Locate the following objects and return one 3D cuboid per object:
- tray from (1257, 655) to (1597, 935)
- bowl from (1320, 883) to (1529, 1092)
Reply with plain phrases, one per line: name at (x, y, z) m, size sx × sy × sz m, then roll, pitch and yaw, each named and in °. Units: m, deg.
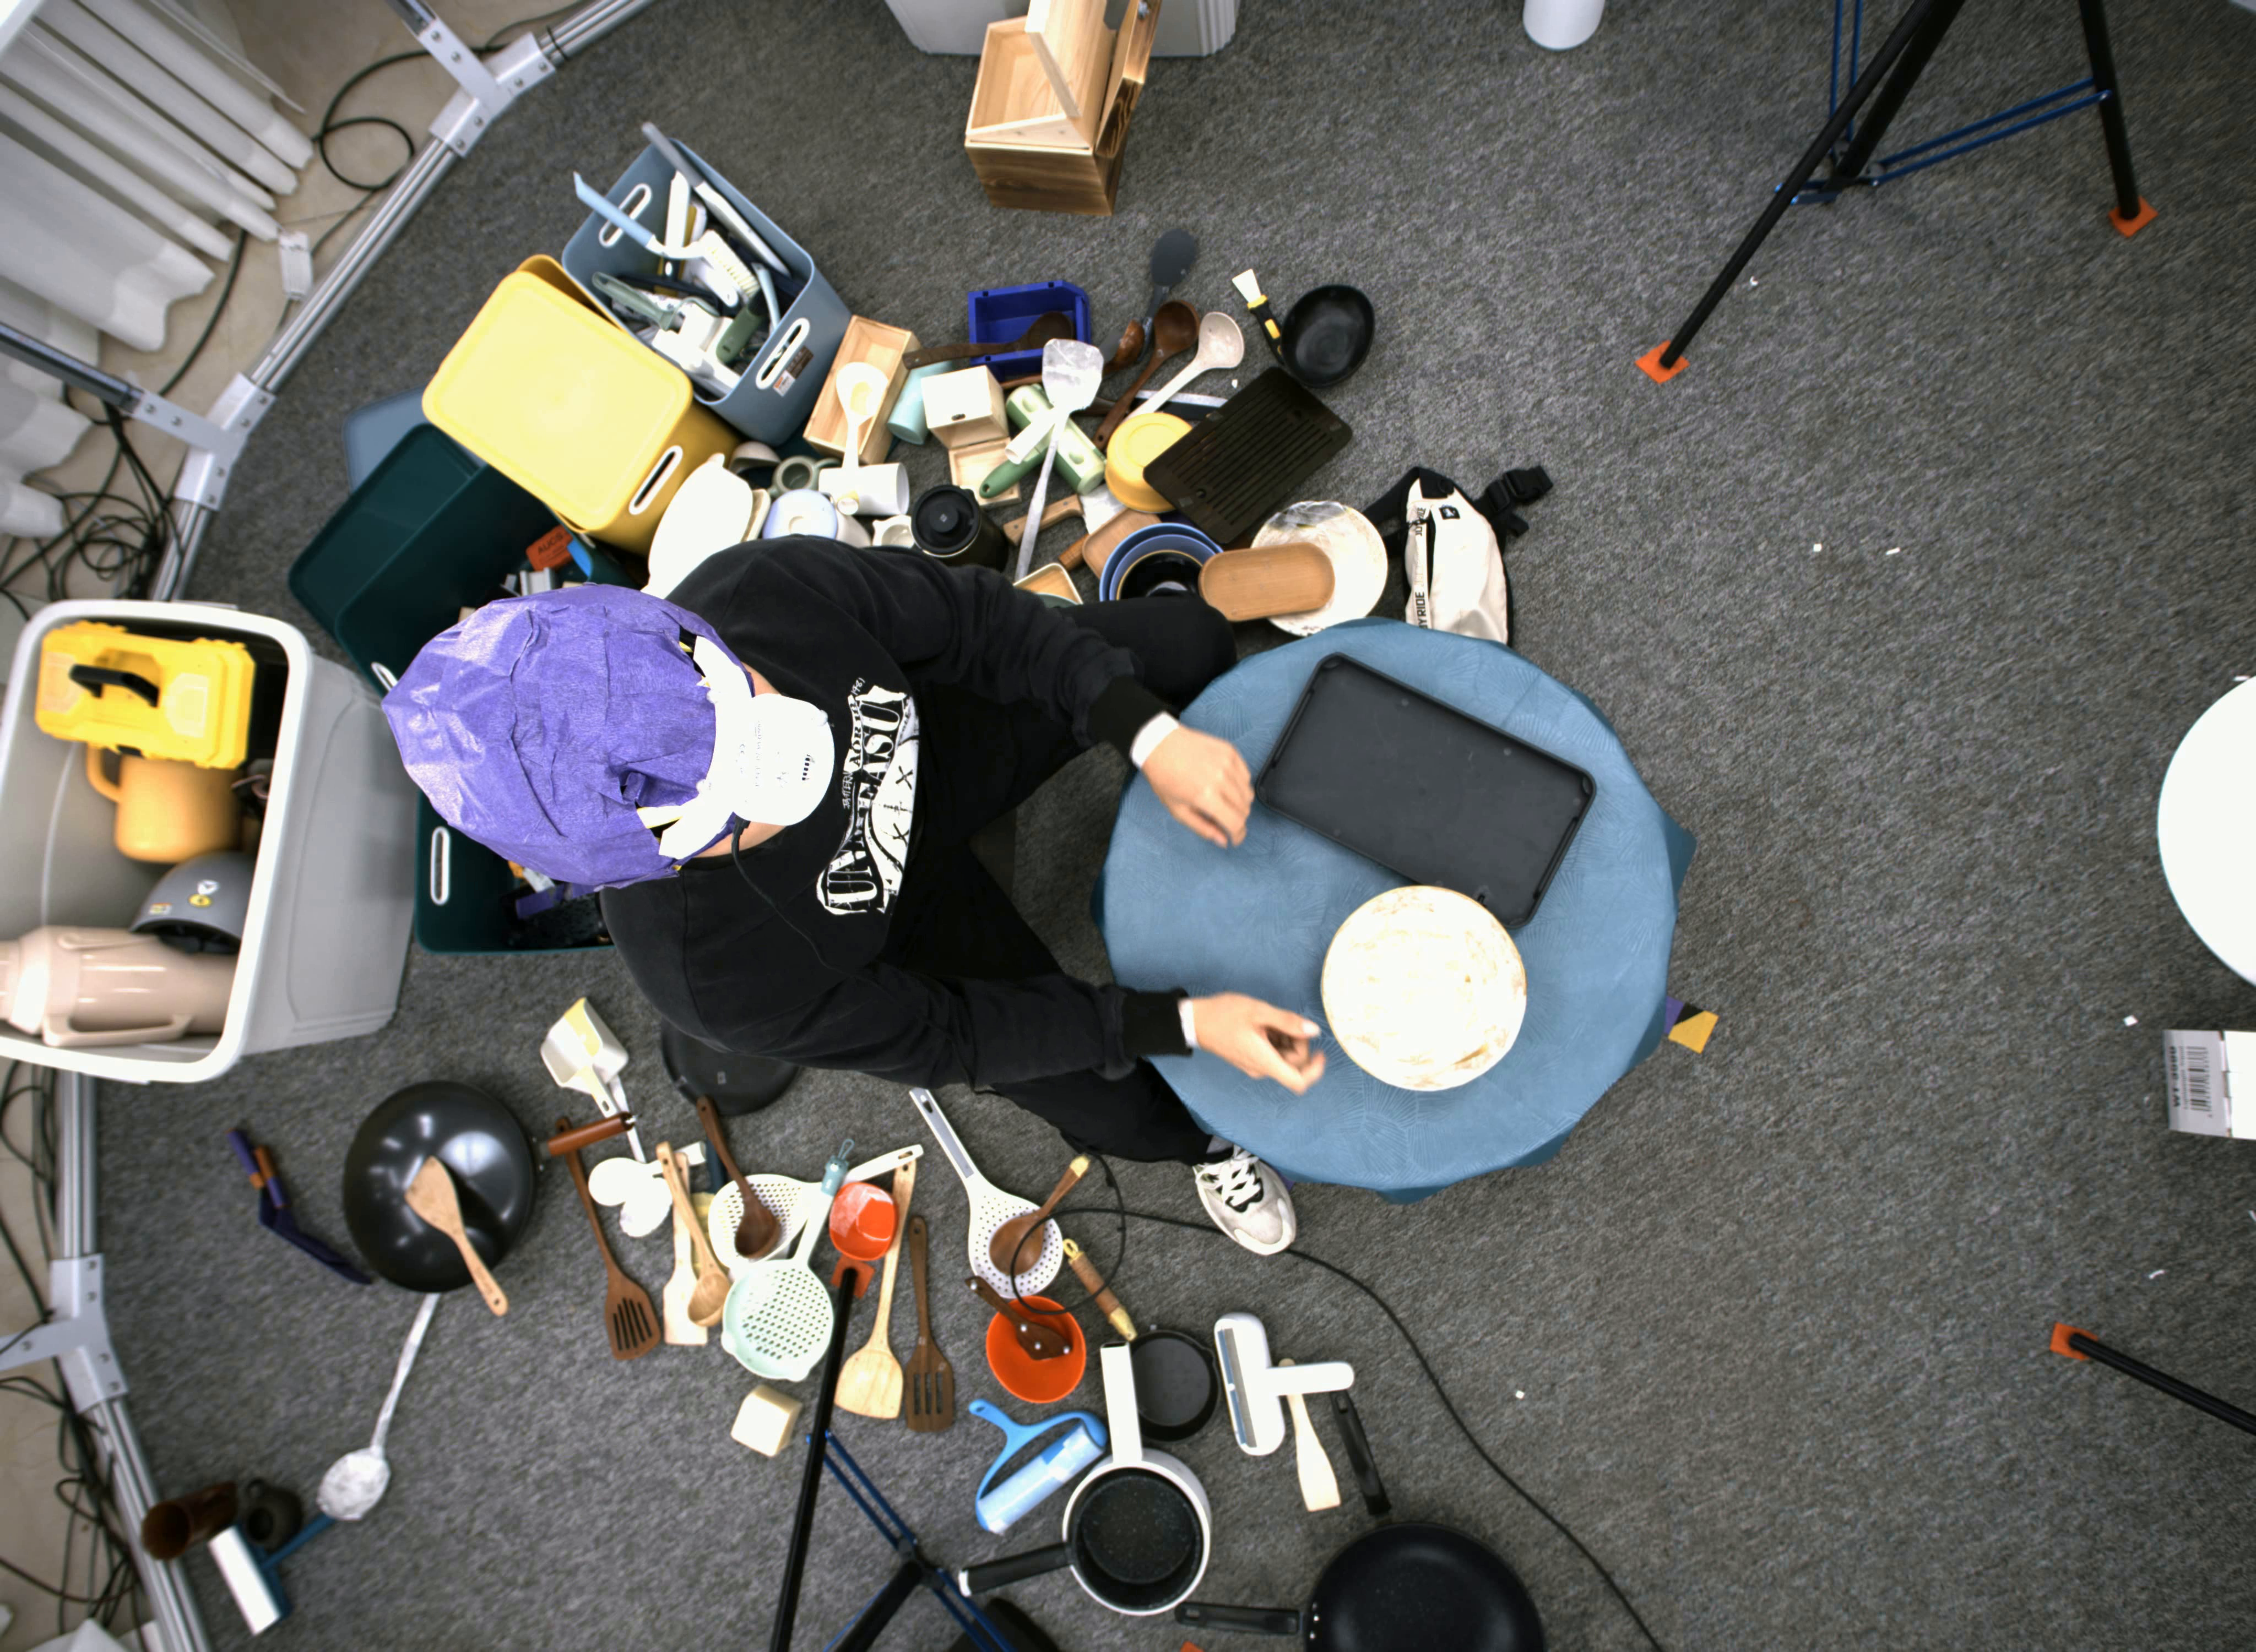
tray at (0.311, -0.035, 1.448) m, size 0.317 × 0.037 × 0.184 m, roll 29°, pitch 90°, yaw 10°
bowl at (0.300, 0.160, 1.405) m, size 0.215 × 0.094 × 0.214 m, roll -1°, pitch 87°, yaw 11°
